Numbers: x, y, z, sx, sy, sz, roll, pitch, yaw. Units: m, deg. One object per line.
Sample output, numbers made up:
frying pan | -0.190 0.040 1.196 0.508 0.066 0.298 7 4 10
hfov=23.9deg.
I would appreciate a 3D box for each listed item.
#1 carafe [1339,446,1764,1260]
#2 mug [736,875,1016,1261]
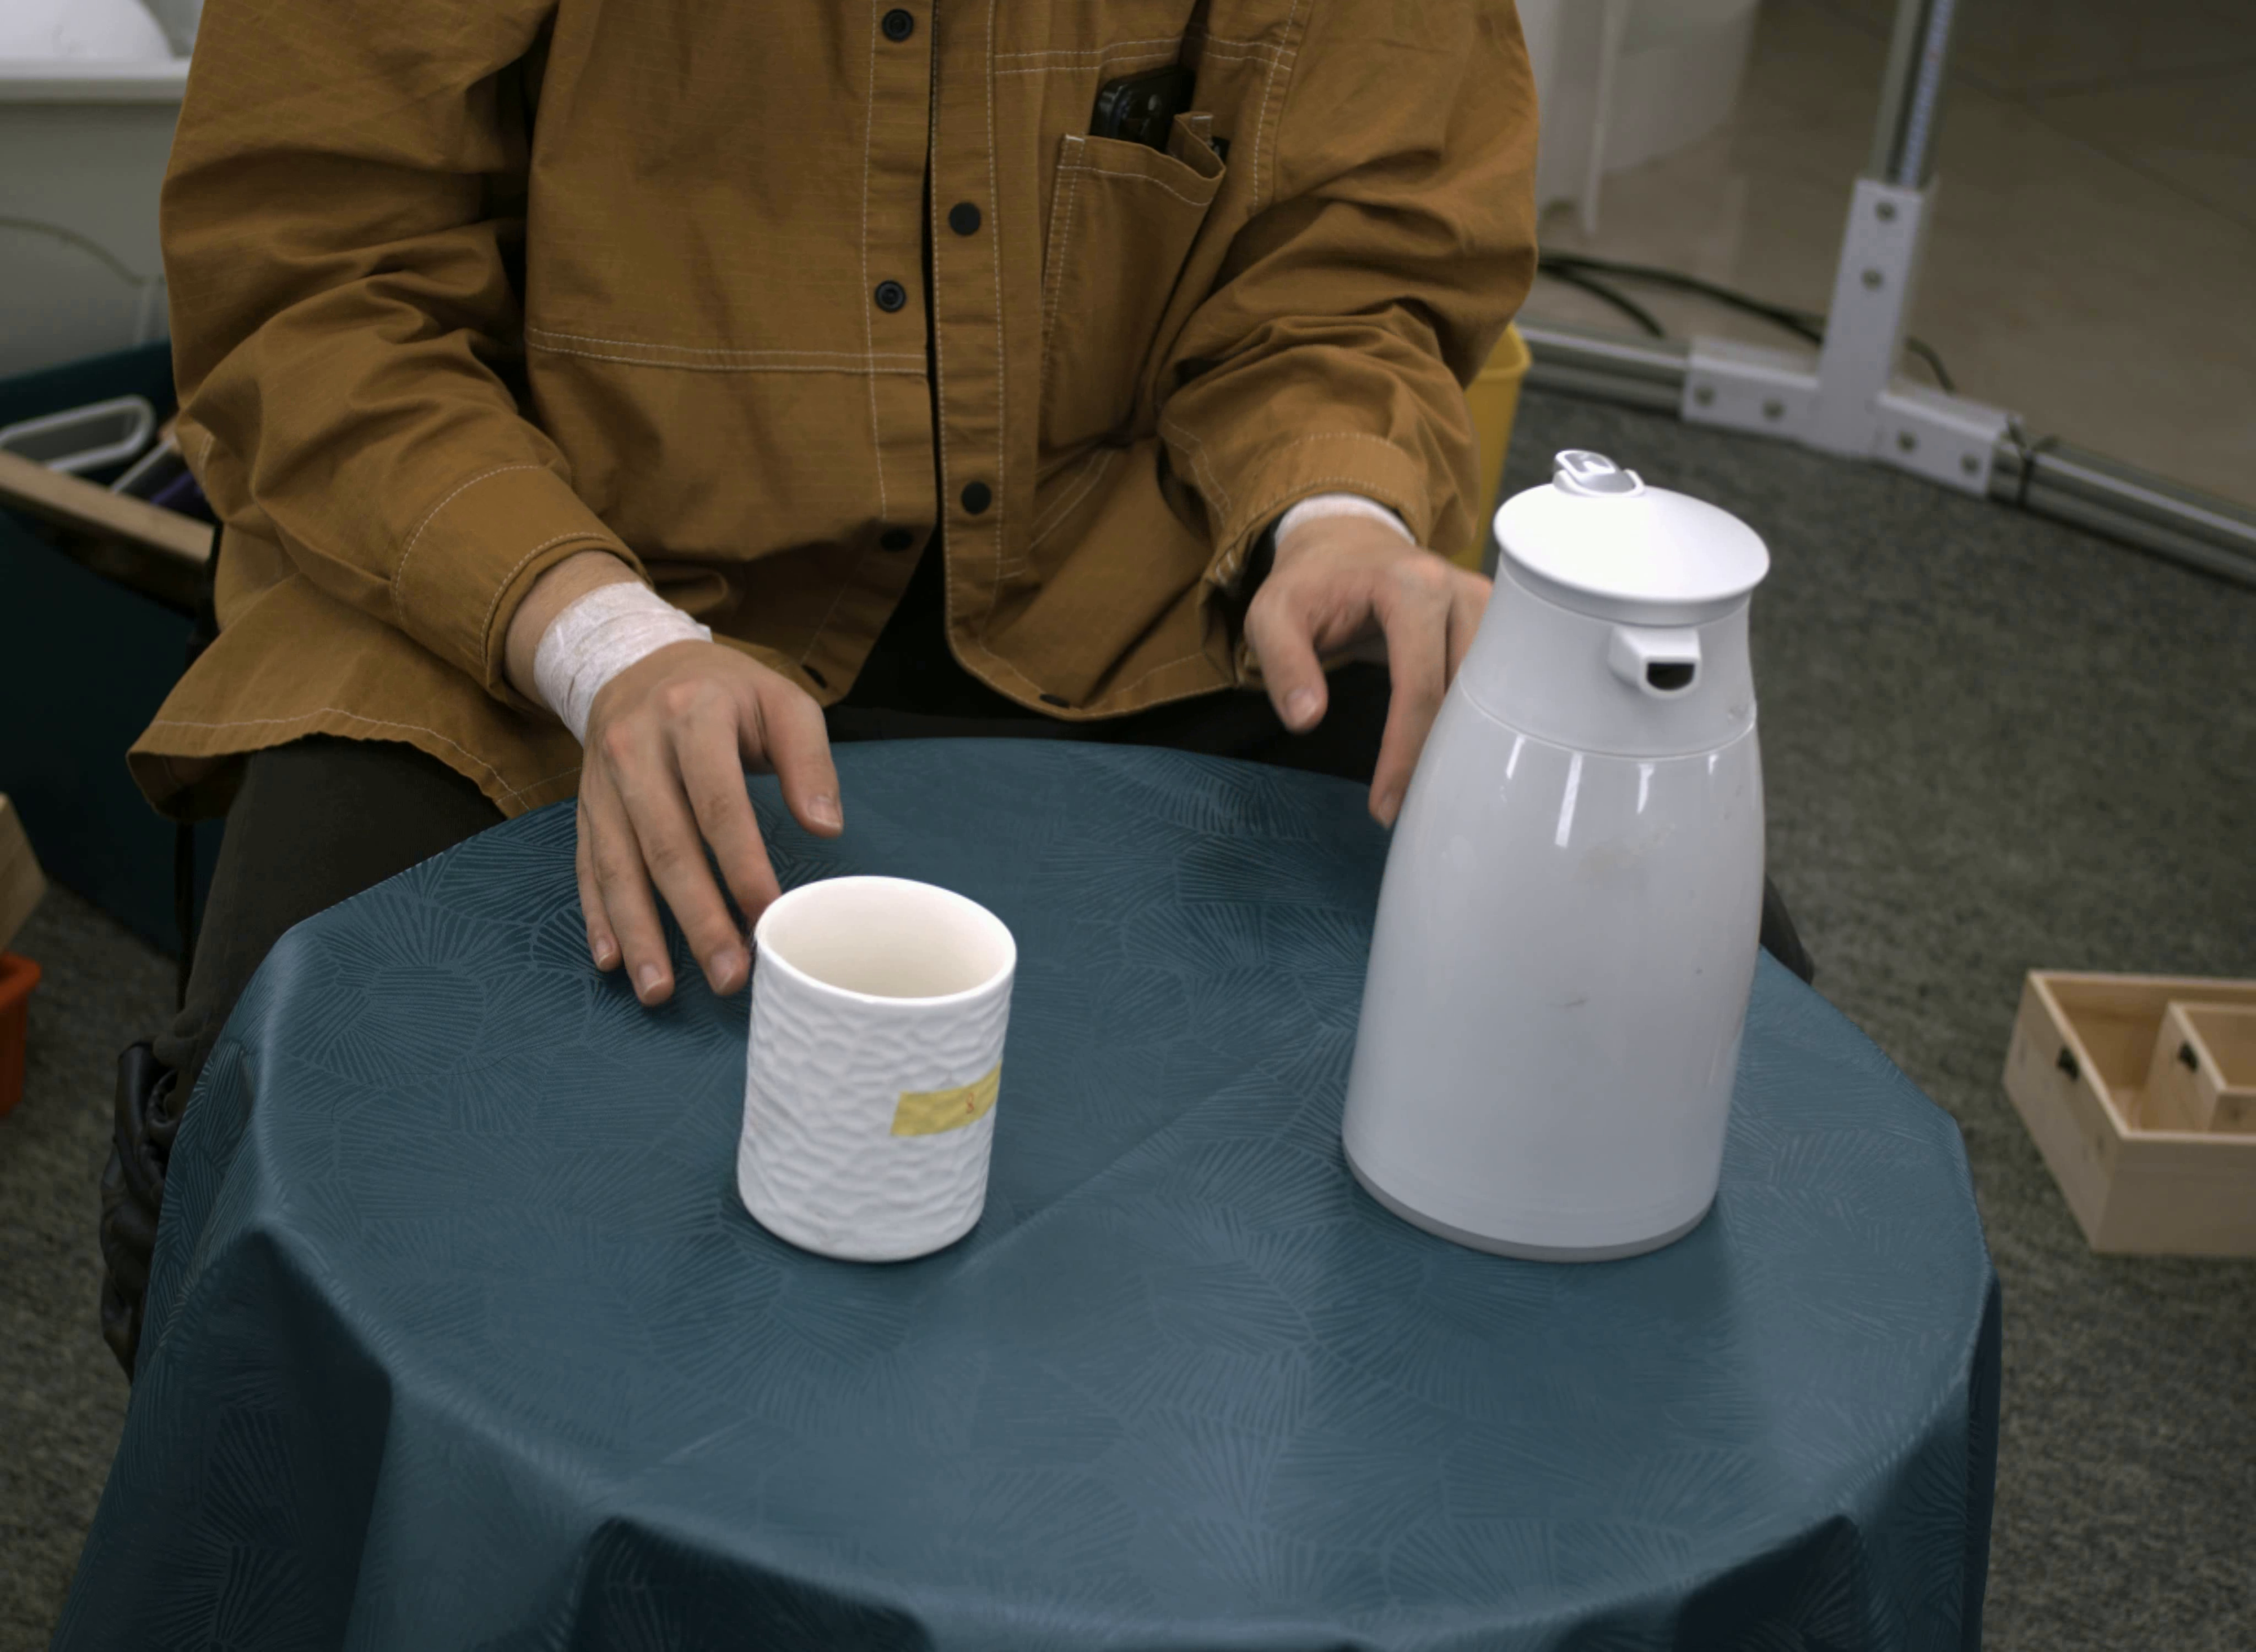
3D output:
carafe | 0.146 -0.001 1.811 0.132 0.248 0.169 0 27 -12
mug | -0.091 0.074 1.771 0.084 0.101 0.119 -5 28 -23
